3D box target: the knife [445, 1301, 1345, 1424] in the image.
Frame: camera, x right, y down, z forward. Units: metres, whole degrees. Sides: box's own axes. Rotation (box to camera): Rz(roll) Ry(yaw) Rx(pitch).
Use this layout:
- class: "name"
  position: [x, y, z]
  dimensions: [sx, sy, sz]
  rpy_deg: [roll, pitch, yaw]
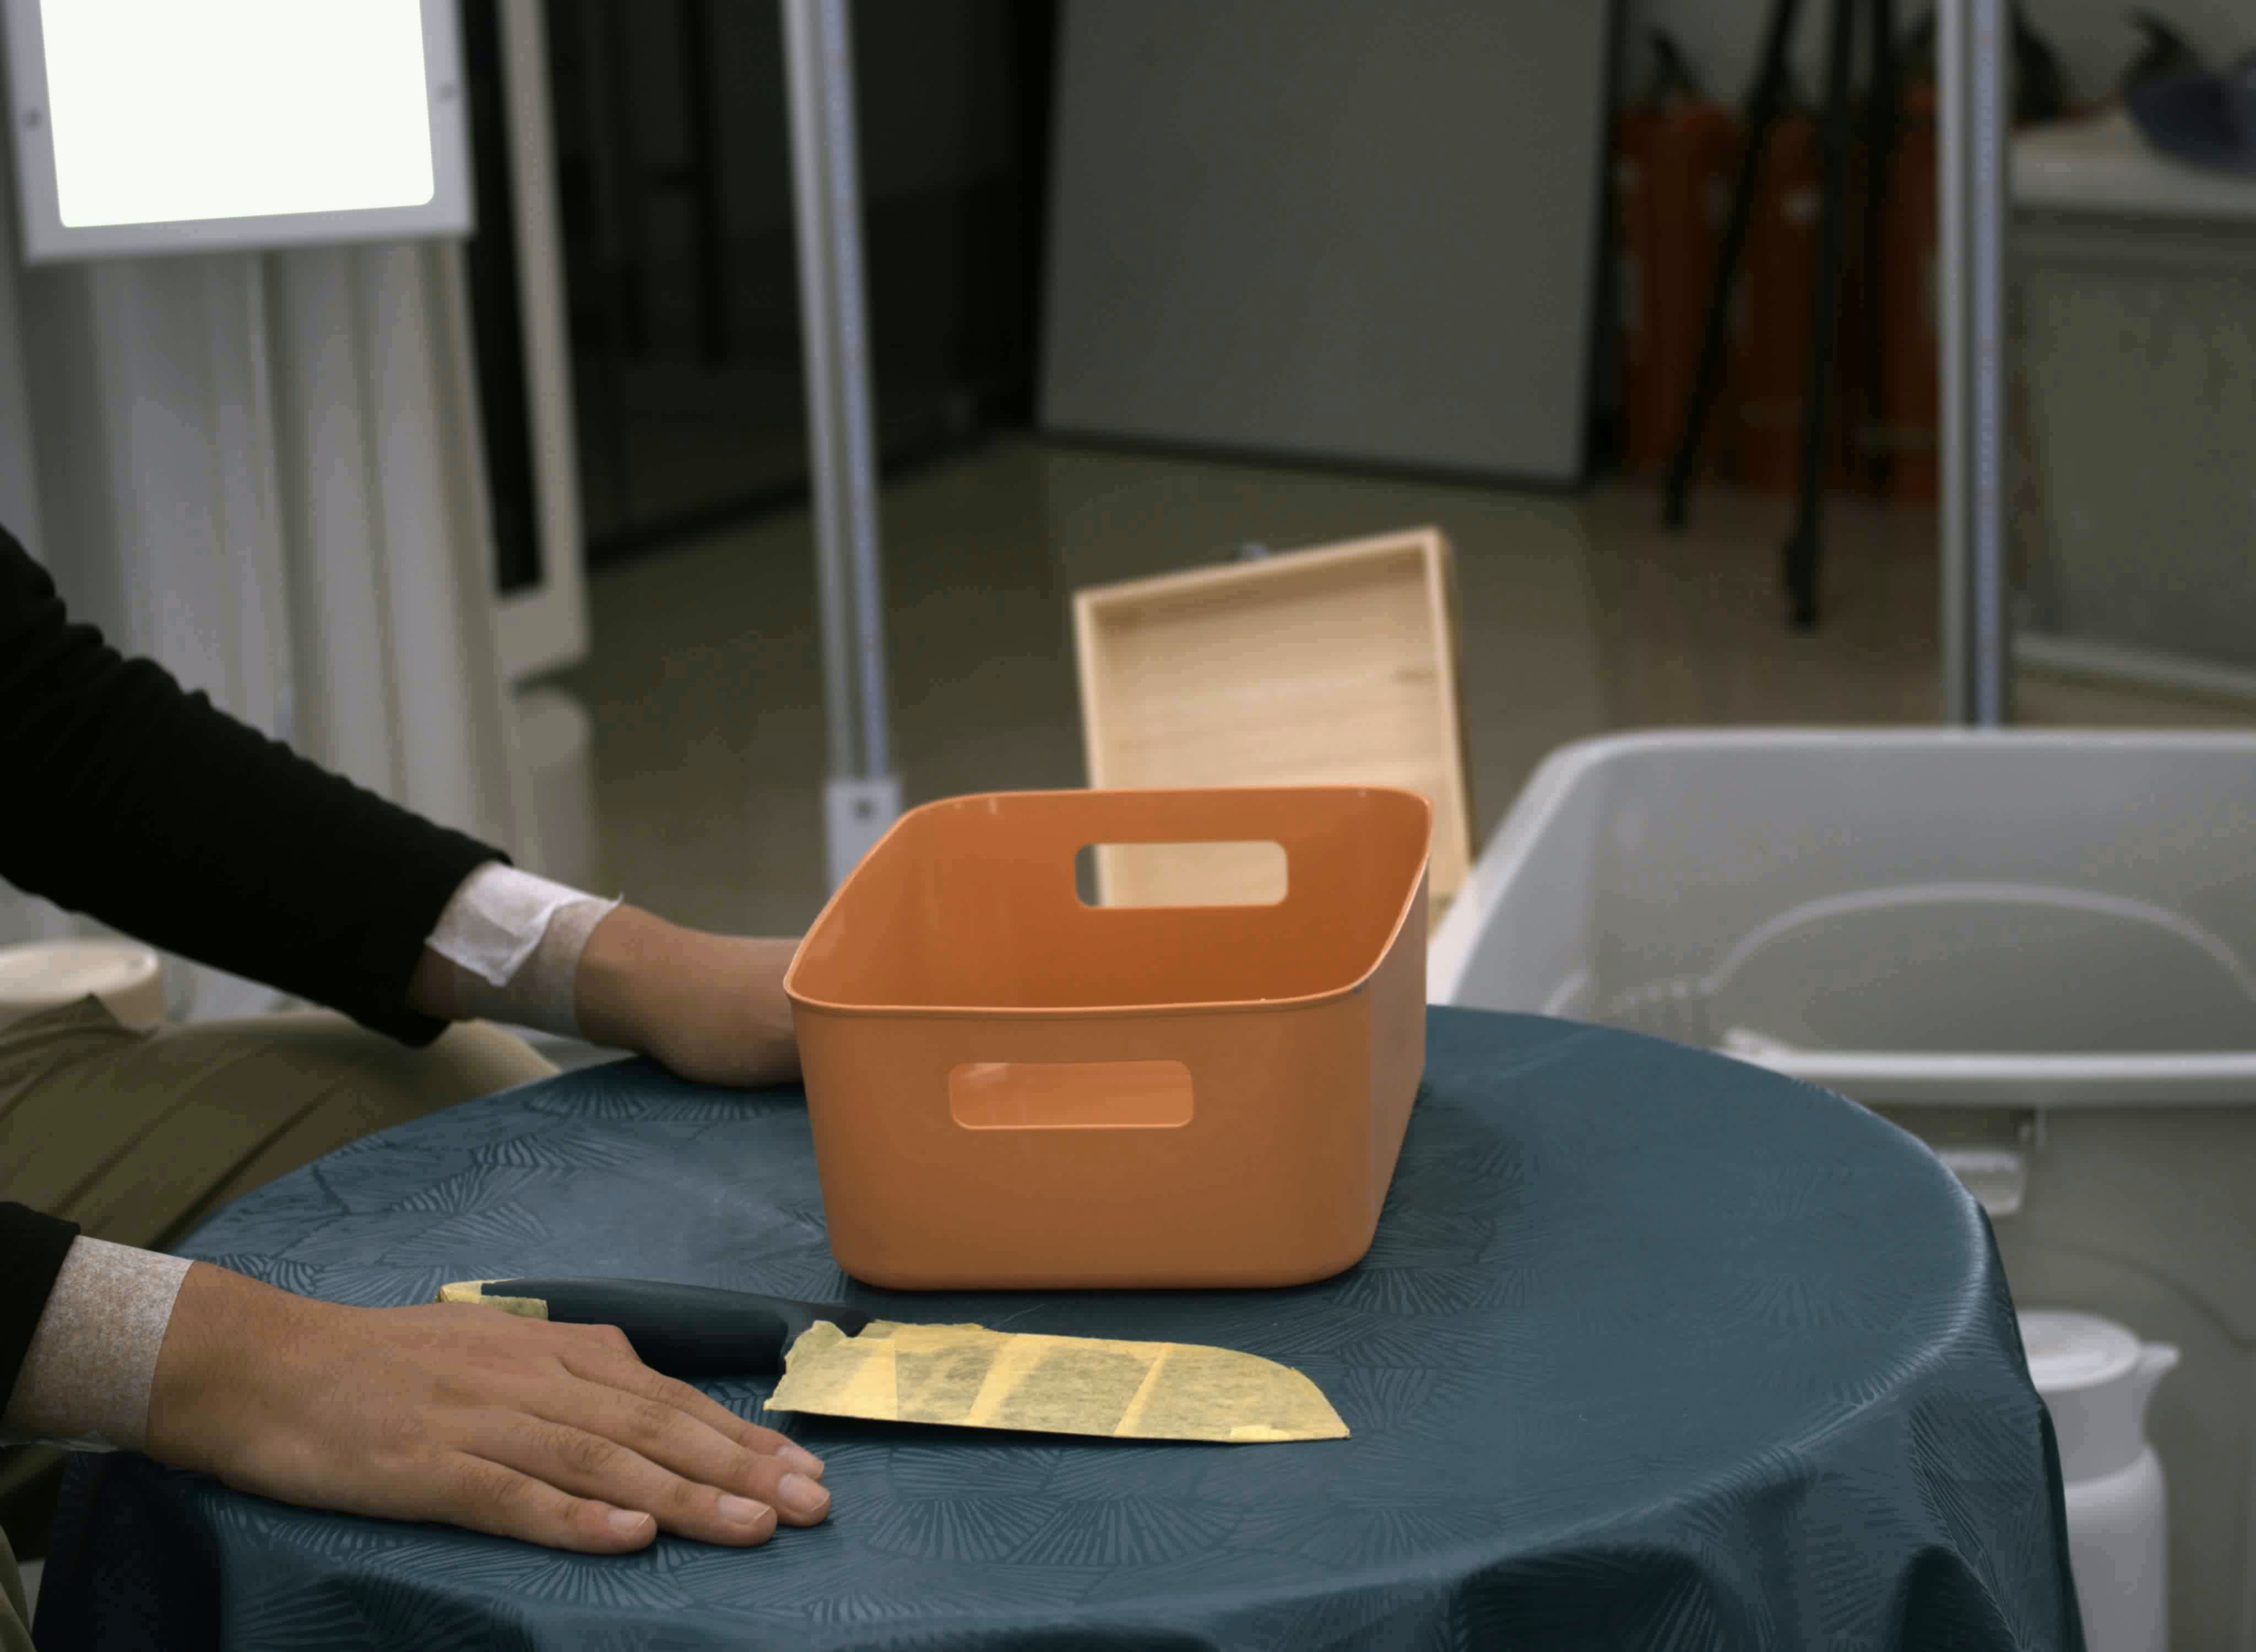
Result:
- class: "knife"
  position: [-0.074, 0.162, 1.595]
  dimensions: [0.288, 0.027, 0.080]
  rpy_deg: [1, 12, 18]

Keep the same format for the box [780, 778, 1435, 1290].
- class: "box"
  position: [0.000, 0.067, 1.772]
  dimensions: [0.198, 0.104, 0.272]
  rpy_deg: [-1, 14, 9]
